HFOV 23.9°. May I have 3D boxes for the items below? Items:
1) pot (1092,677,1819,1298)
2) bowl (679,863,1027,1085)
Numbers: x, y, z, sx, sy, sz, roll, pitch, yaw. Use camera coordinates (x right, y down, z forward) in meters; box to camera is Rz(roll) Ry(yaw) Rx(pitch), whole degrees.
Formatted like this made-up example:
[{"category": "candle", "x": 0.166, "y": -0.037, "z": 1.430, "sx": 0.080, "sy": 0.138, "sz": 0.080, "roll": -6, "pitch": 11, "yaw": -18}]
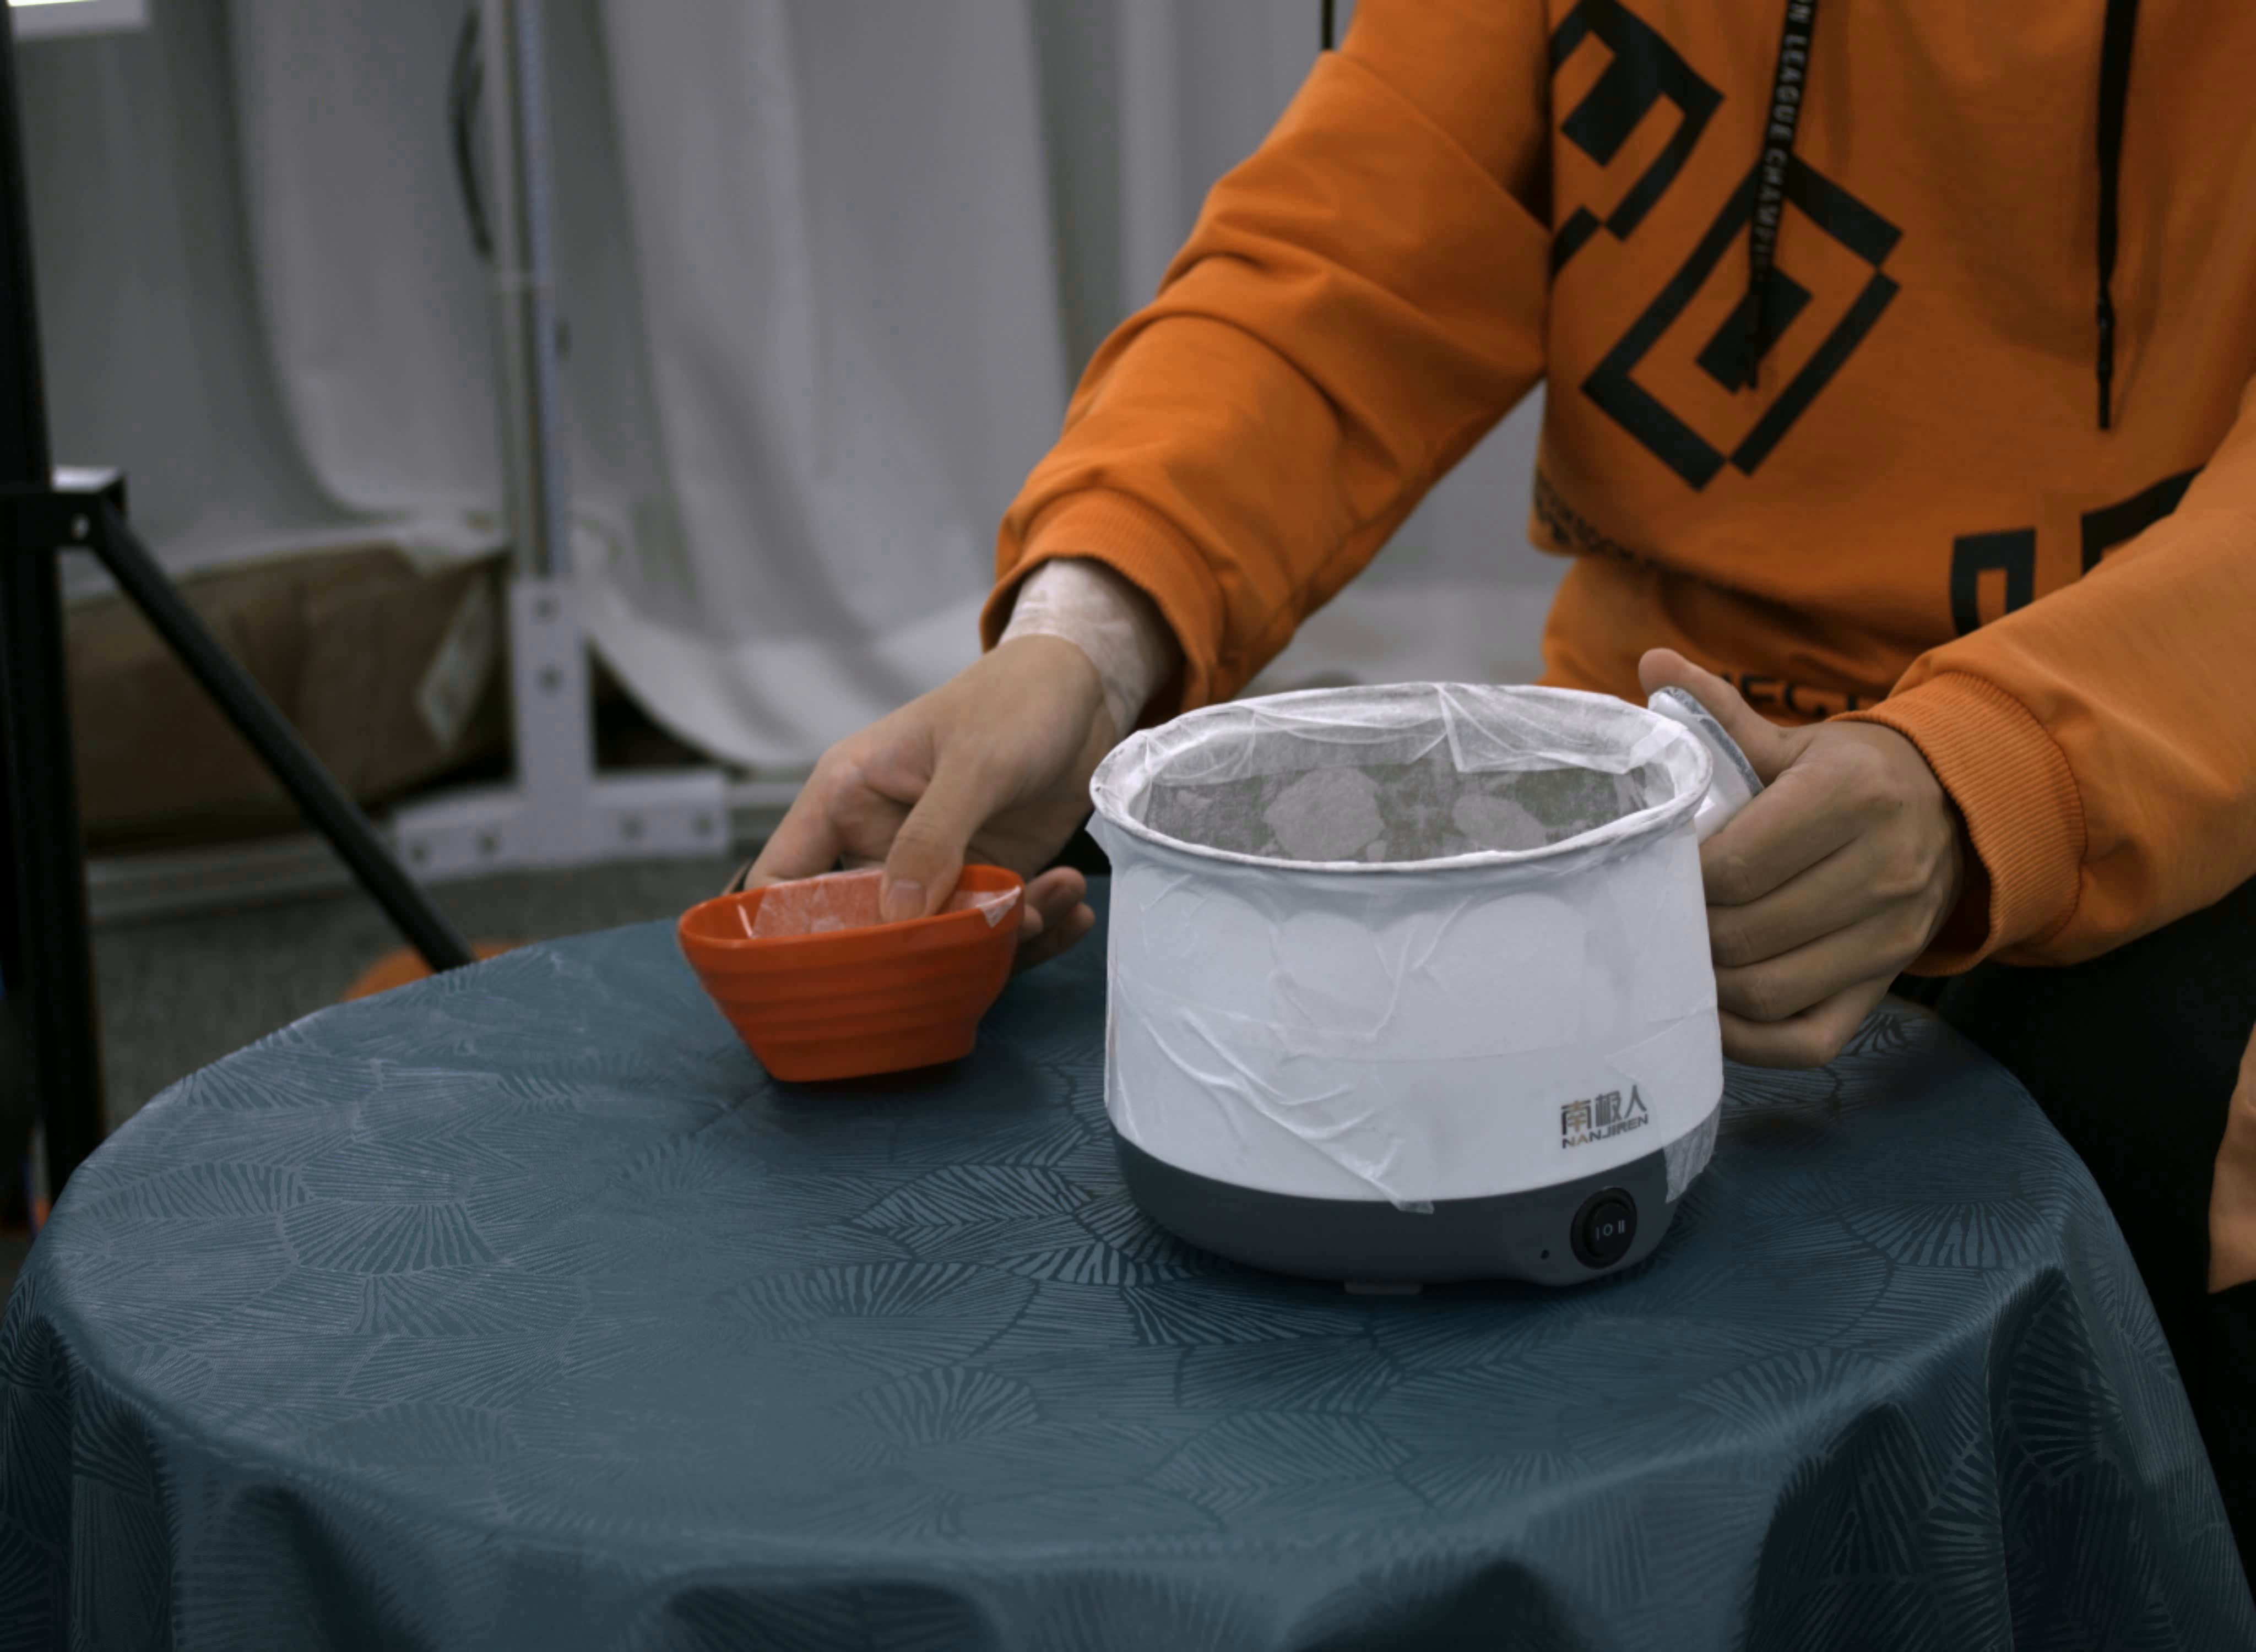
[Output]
[{"category": "pot", "x": 0.103, "y": 0.039, "z": 1.525, "sx": 0.228, "sy": 0.136, "sz": 0.183, "roll": -14, "pitch": 21, "yaw": -32}, {"category": "bowl", "x": -0.083, "y": 0.048, "z": 1.676, "sx": 0.118, "sy": 0.051, "sz": 0.119, "roll": -8, "pitch": 9, "yaw": 0}]
